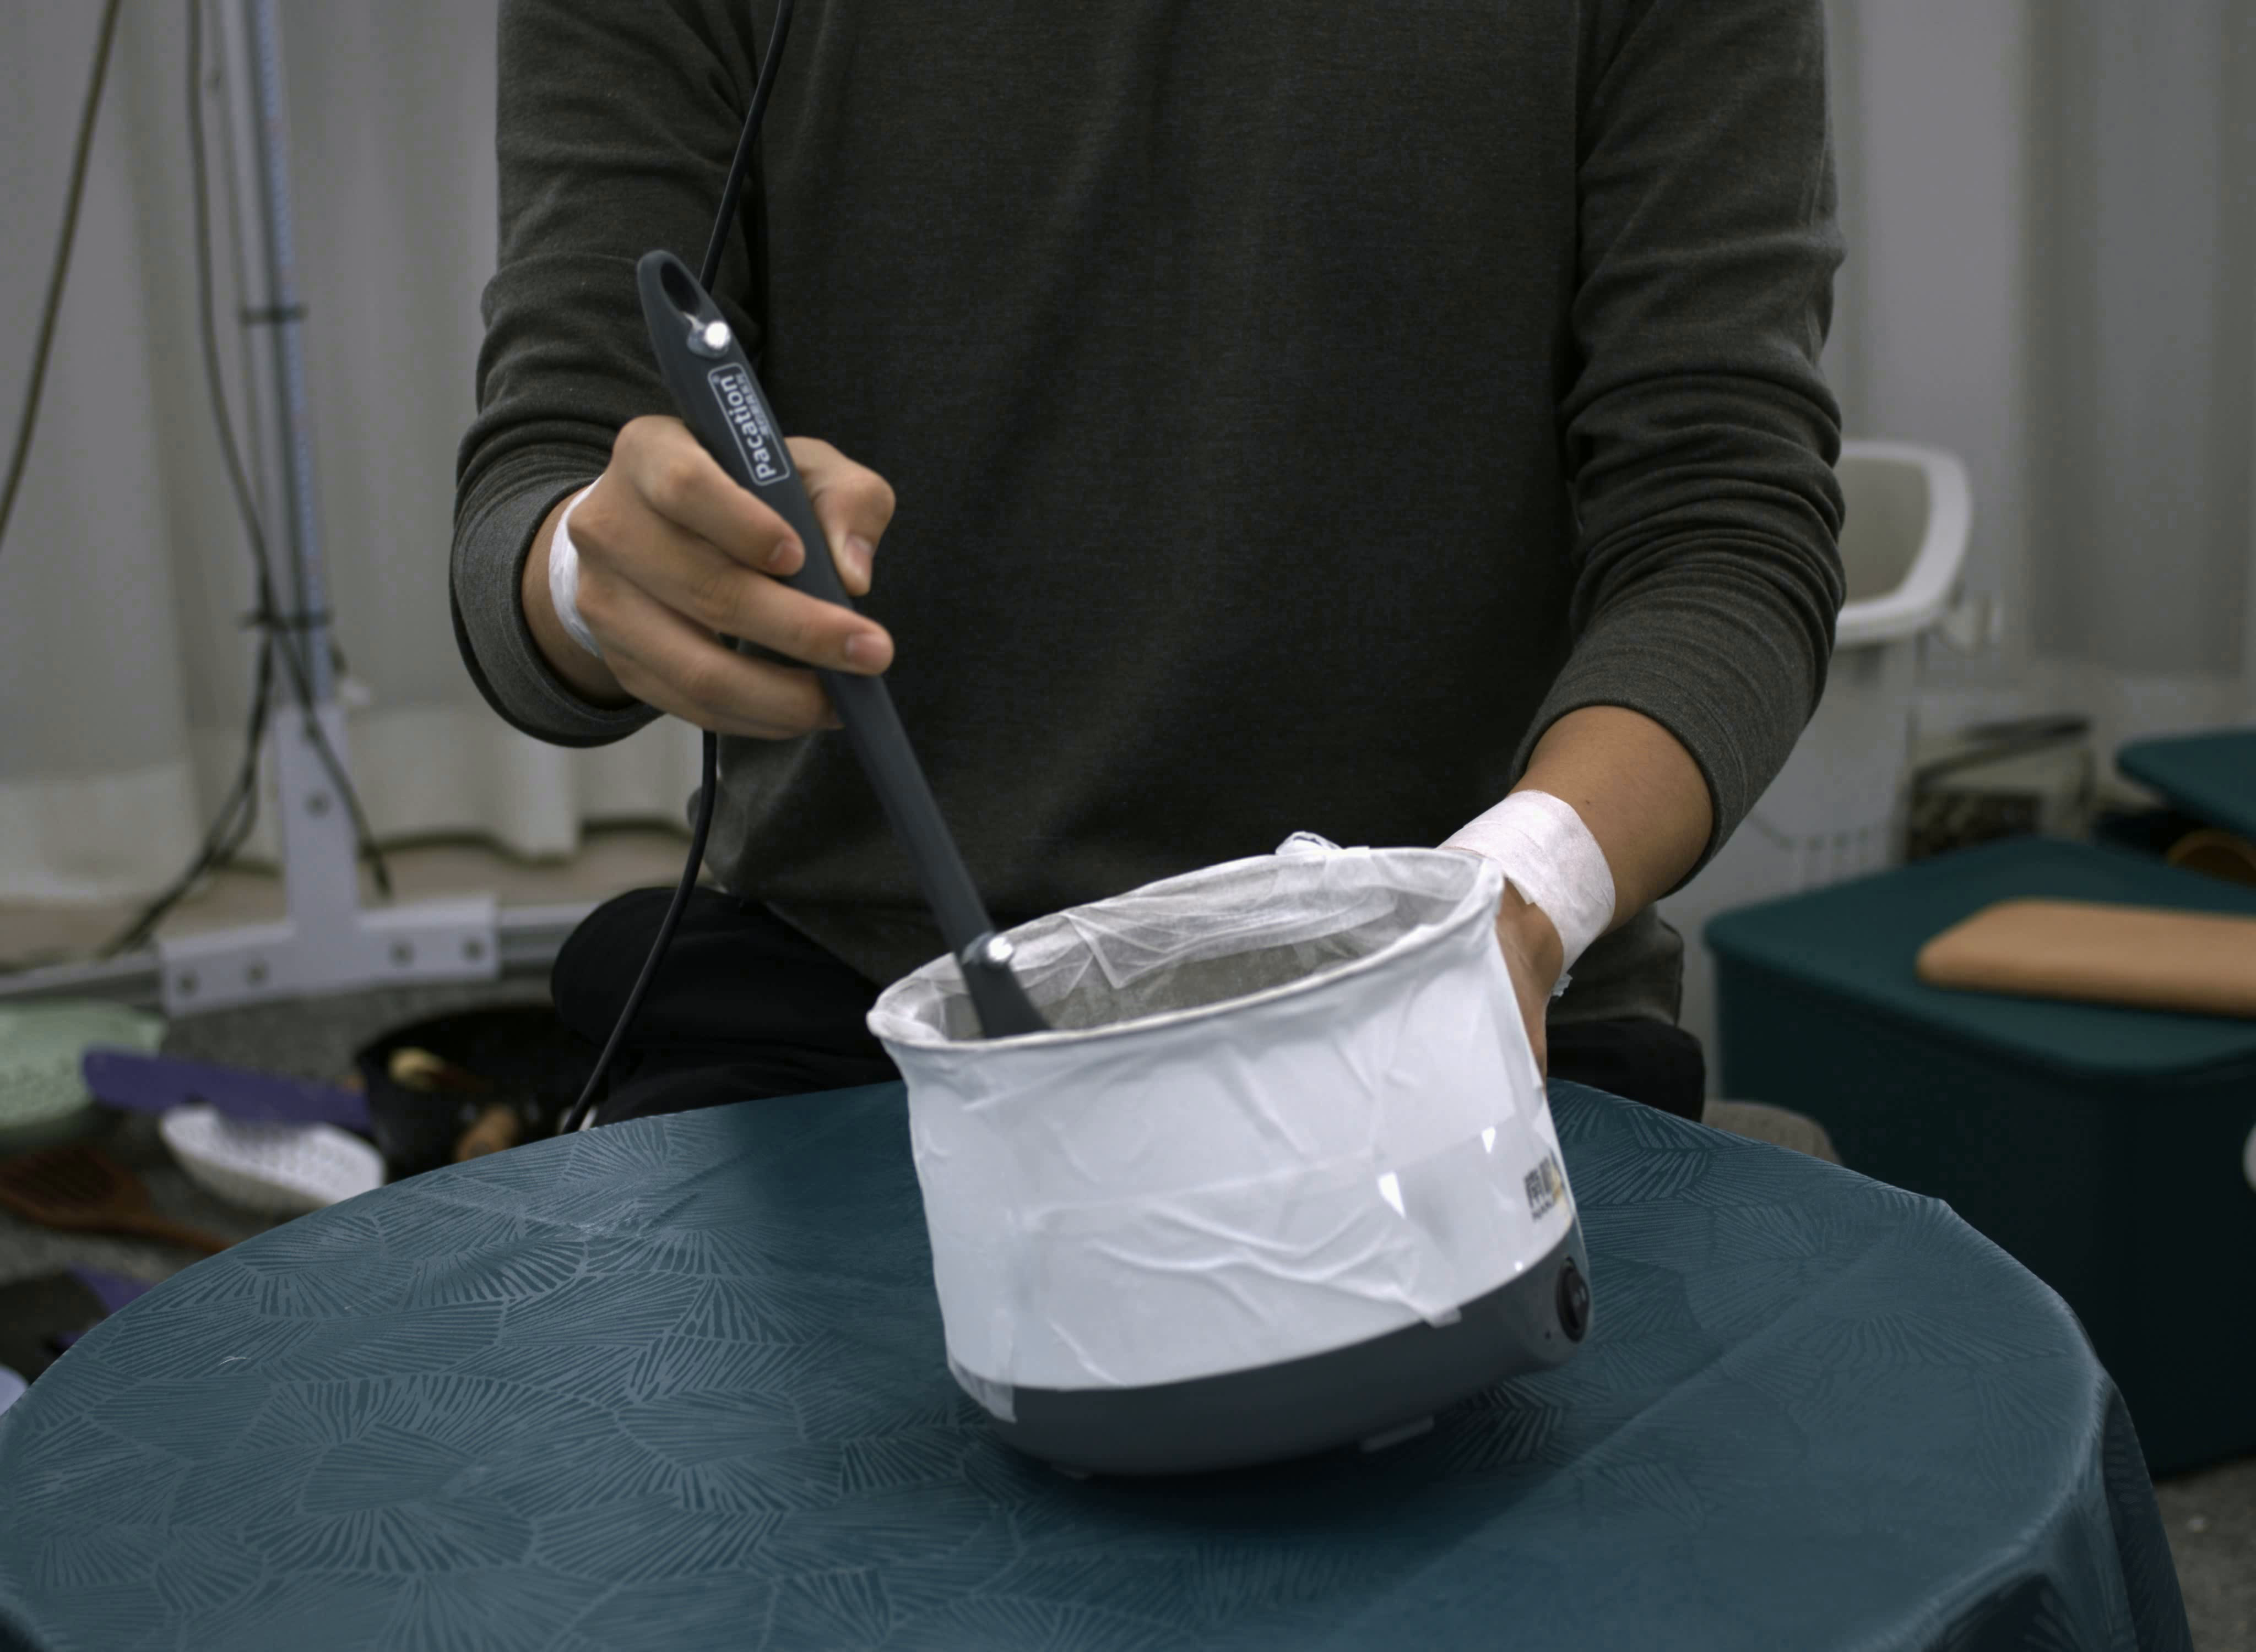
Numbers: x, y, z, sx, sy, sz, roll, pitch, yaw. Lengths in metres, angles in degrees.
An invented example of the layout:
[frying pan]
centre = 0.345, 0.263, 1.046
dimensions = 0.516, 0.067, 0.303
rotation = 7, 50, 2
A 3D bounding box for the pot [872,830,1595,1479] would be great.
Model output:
[pot]
centre = 0.039, 0.085, 1.522
dimensions = 0.178, 0.136, 0.234
rotation = -9, 11, 22

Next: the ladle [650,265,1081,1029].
[ladle]
centre = -0.049, -0.027, 1.514
dimensions = 0.086, 0.316, 0.063
rotation = -20, -11, -40
